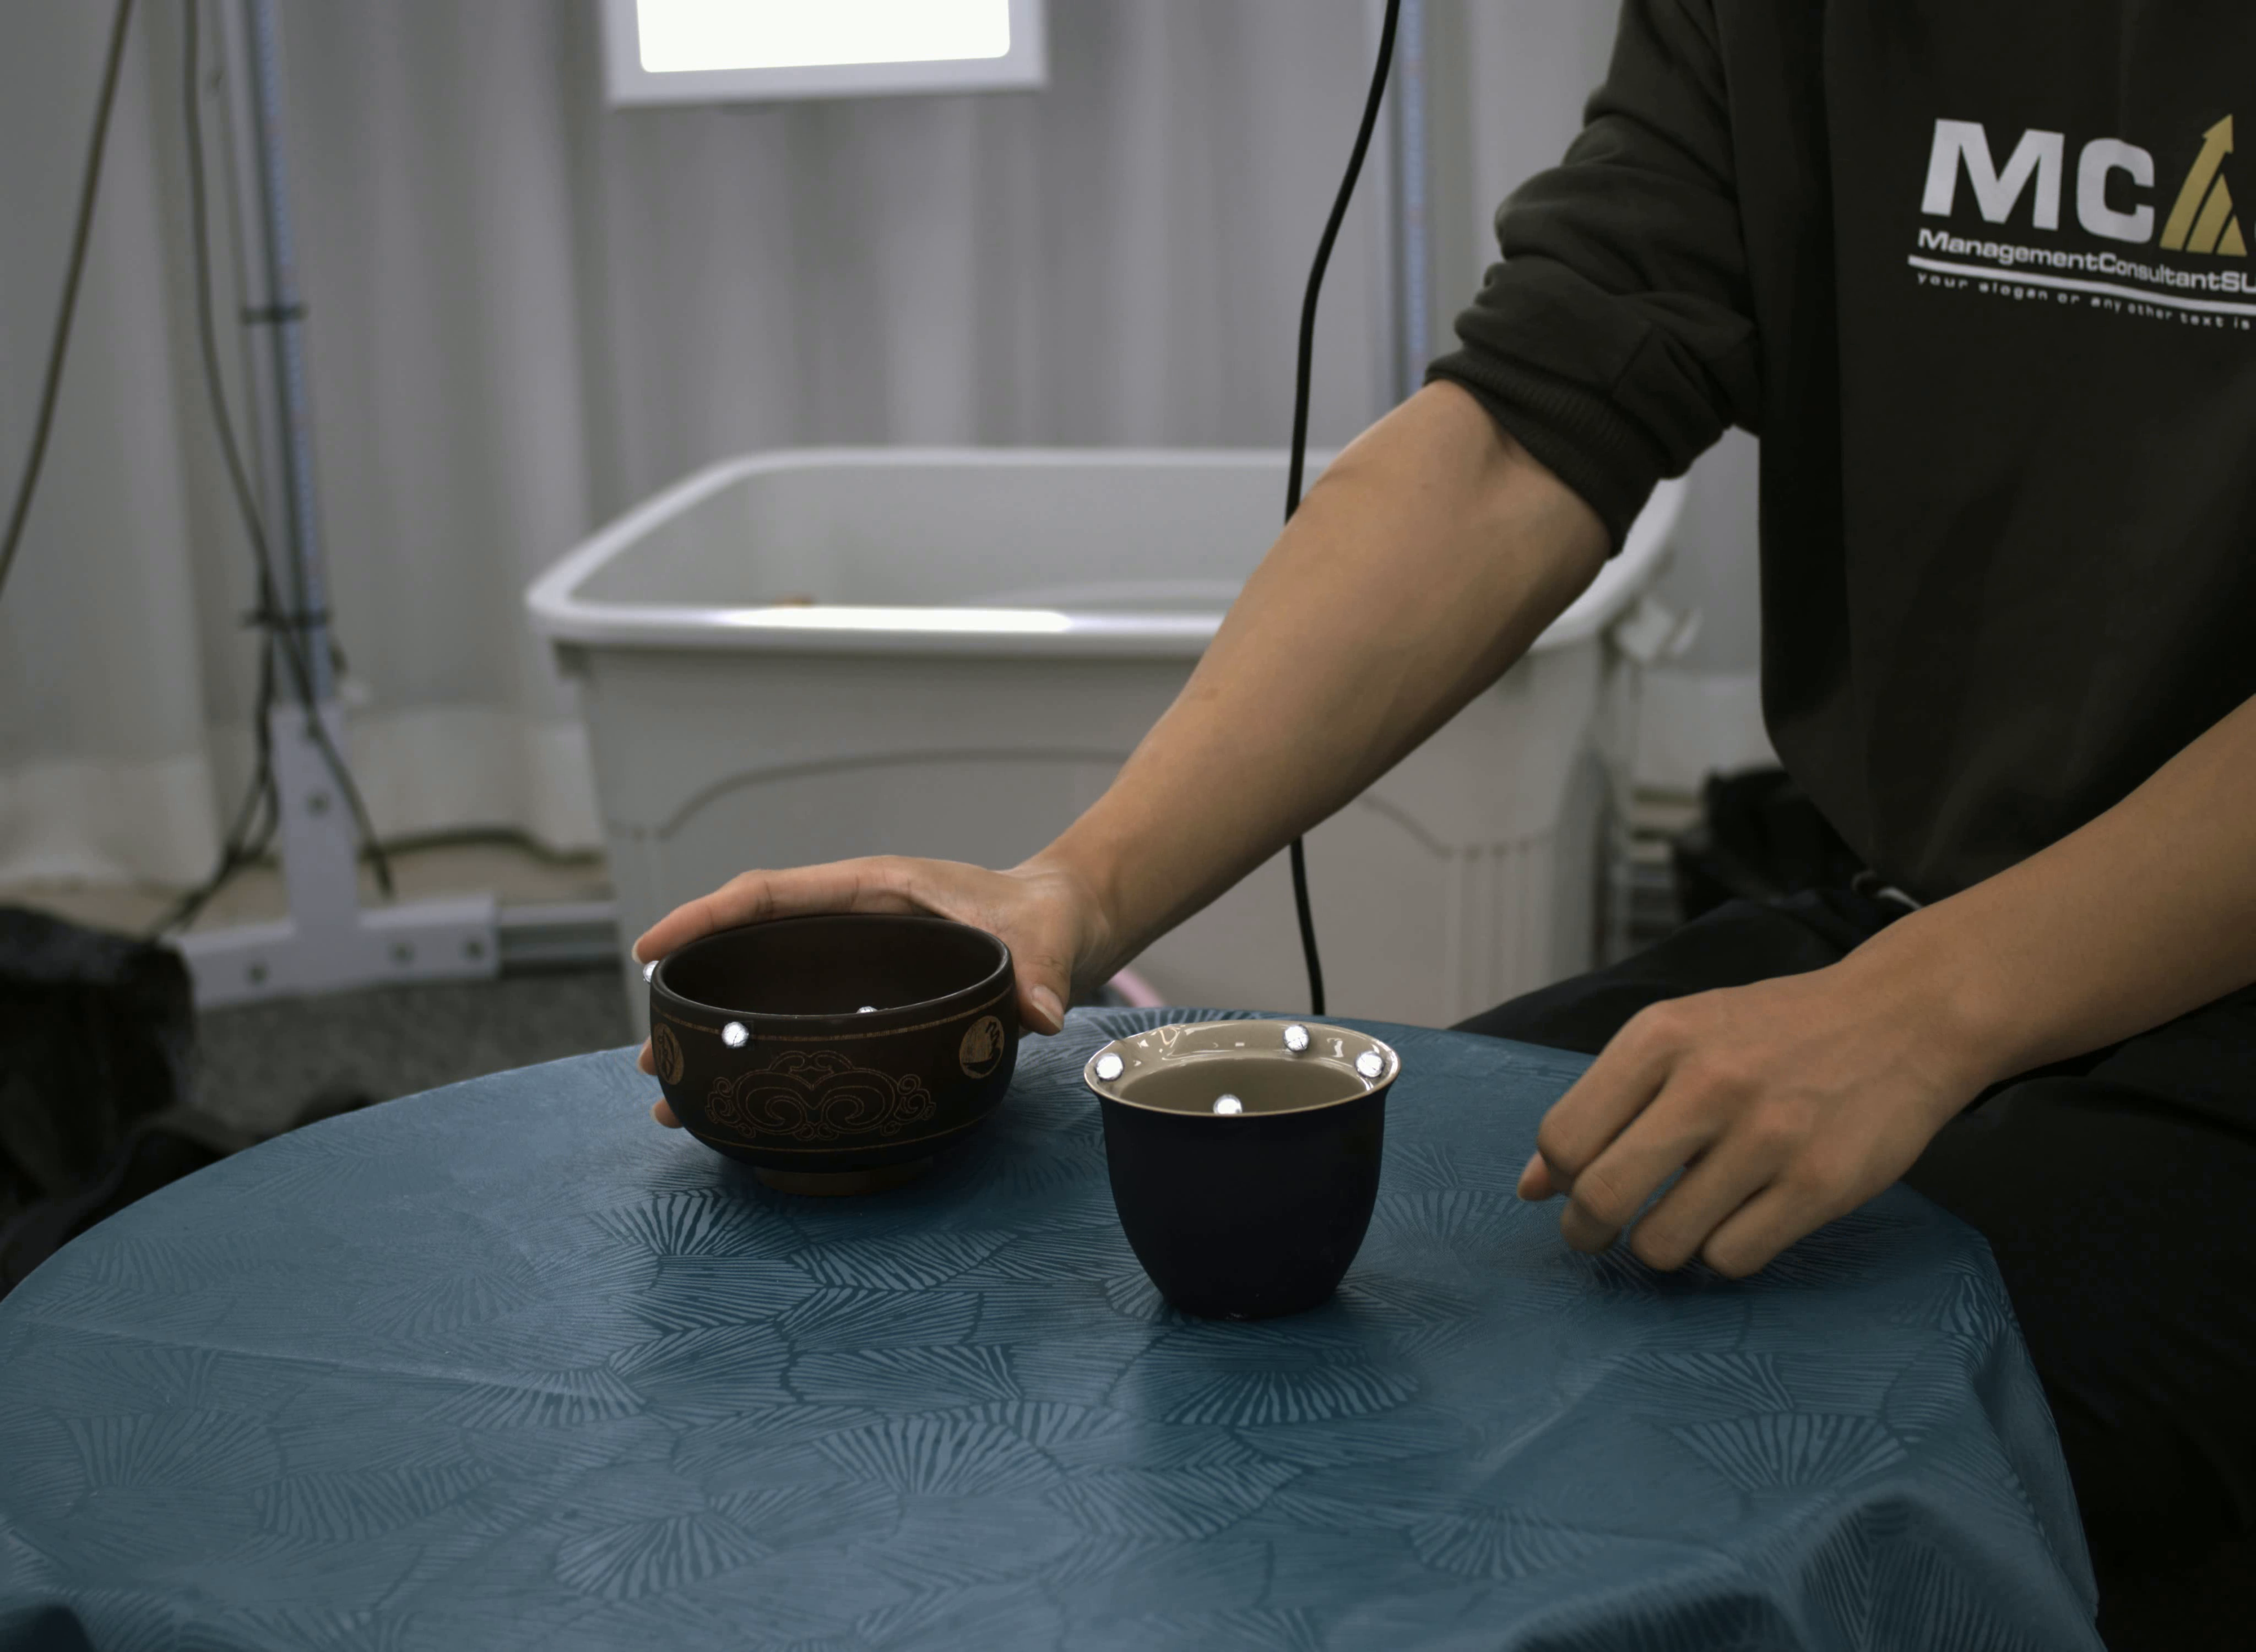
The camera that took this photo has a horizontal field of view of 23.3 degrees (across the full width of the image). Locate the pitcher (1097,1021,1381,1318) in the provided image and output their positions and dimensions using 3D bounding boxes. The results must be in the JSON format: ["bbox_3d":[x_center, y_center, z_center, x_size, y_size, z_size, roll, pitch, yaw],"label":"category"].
[{"bbox_3d":[0.031,0.103,1.615,0.083,0.071,0.097,-12,18,-28],"label":"pitcher"}]

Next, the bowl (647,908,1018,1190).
[{"bbox_3d":[-0.093,0.075,1.742,0.117,0.069,0.119,-1,14,0],"label":"bowl"}]
